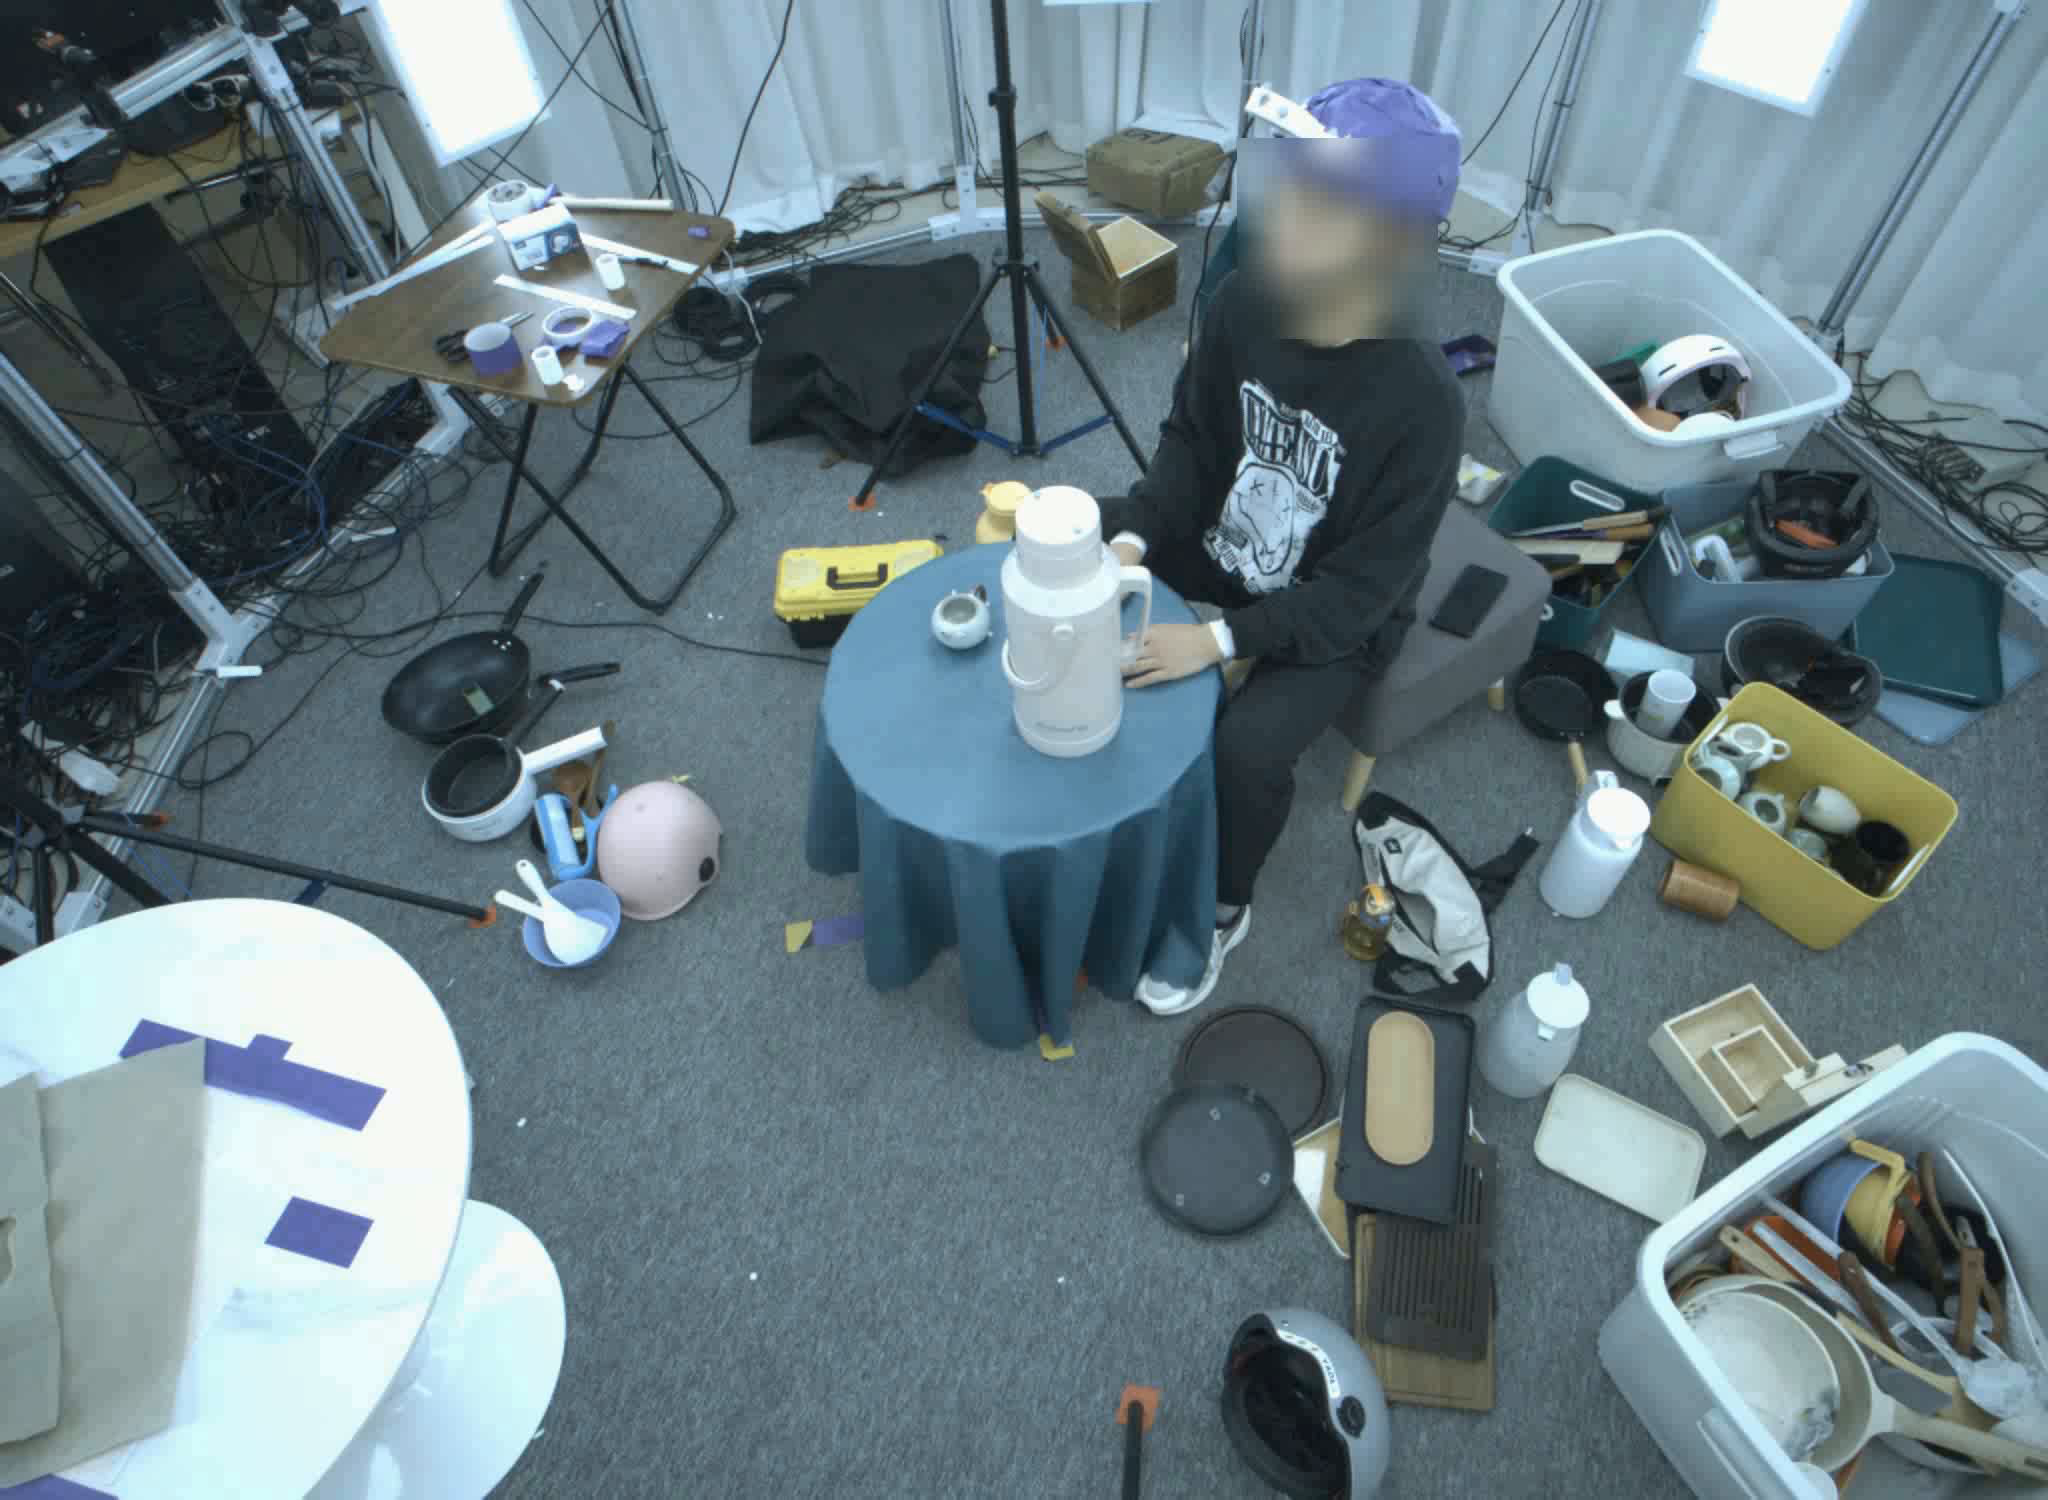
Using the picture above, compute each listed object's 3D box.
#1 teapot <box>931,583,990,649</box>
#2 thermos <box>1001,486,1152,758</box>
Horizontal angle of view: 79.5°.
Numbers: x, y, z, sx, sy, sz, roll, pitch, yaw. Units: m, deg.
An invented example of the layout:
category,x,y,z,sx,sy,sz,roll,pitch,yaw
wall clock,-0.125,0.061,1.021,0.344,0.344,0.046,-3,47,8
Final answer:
category,x,y,z,sx,sy,sz,roll,pitch,yaw
teapot,-0.094,-0.206,1.897,0.090,0.060,0.128,18,58,18
thermos,0.068,-0.169,1.657,0.207,0.411,0.173,-4,53,2
